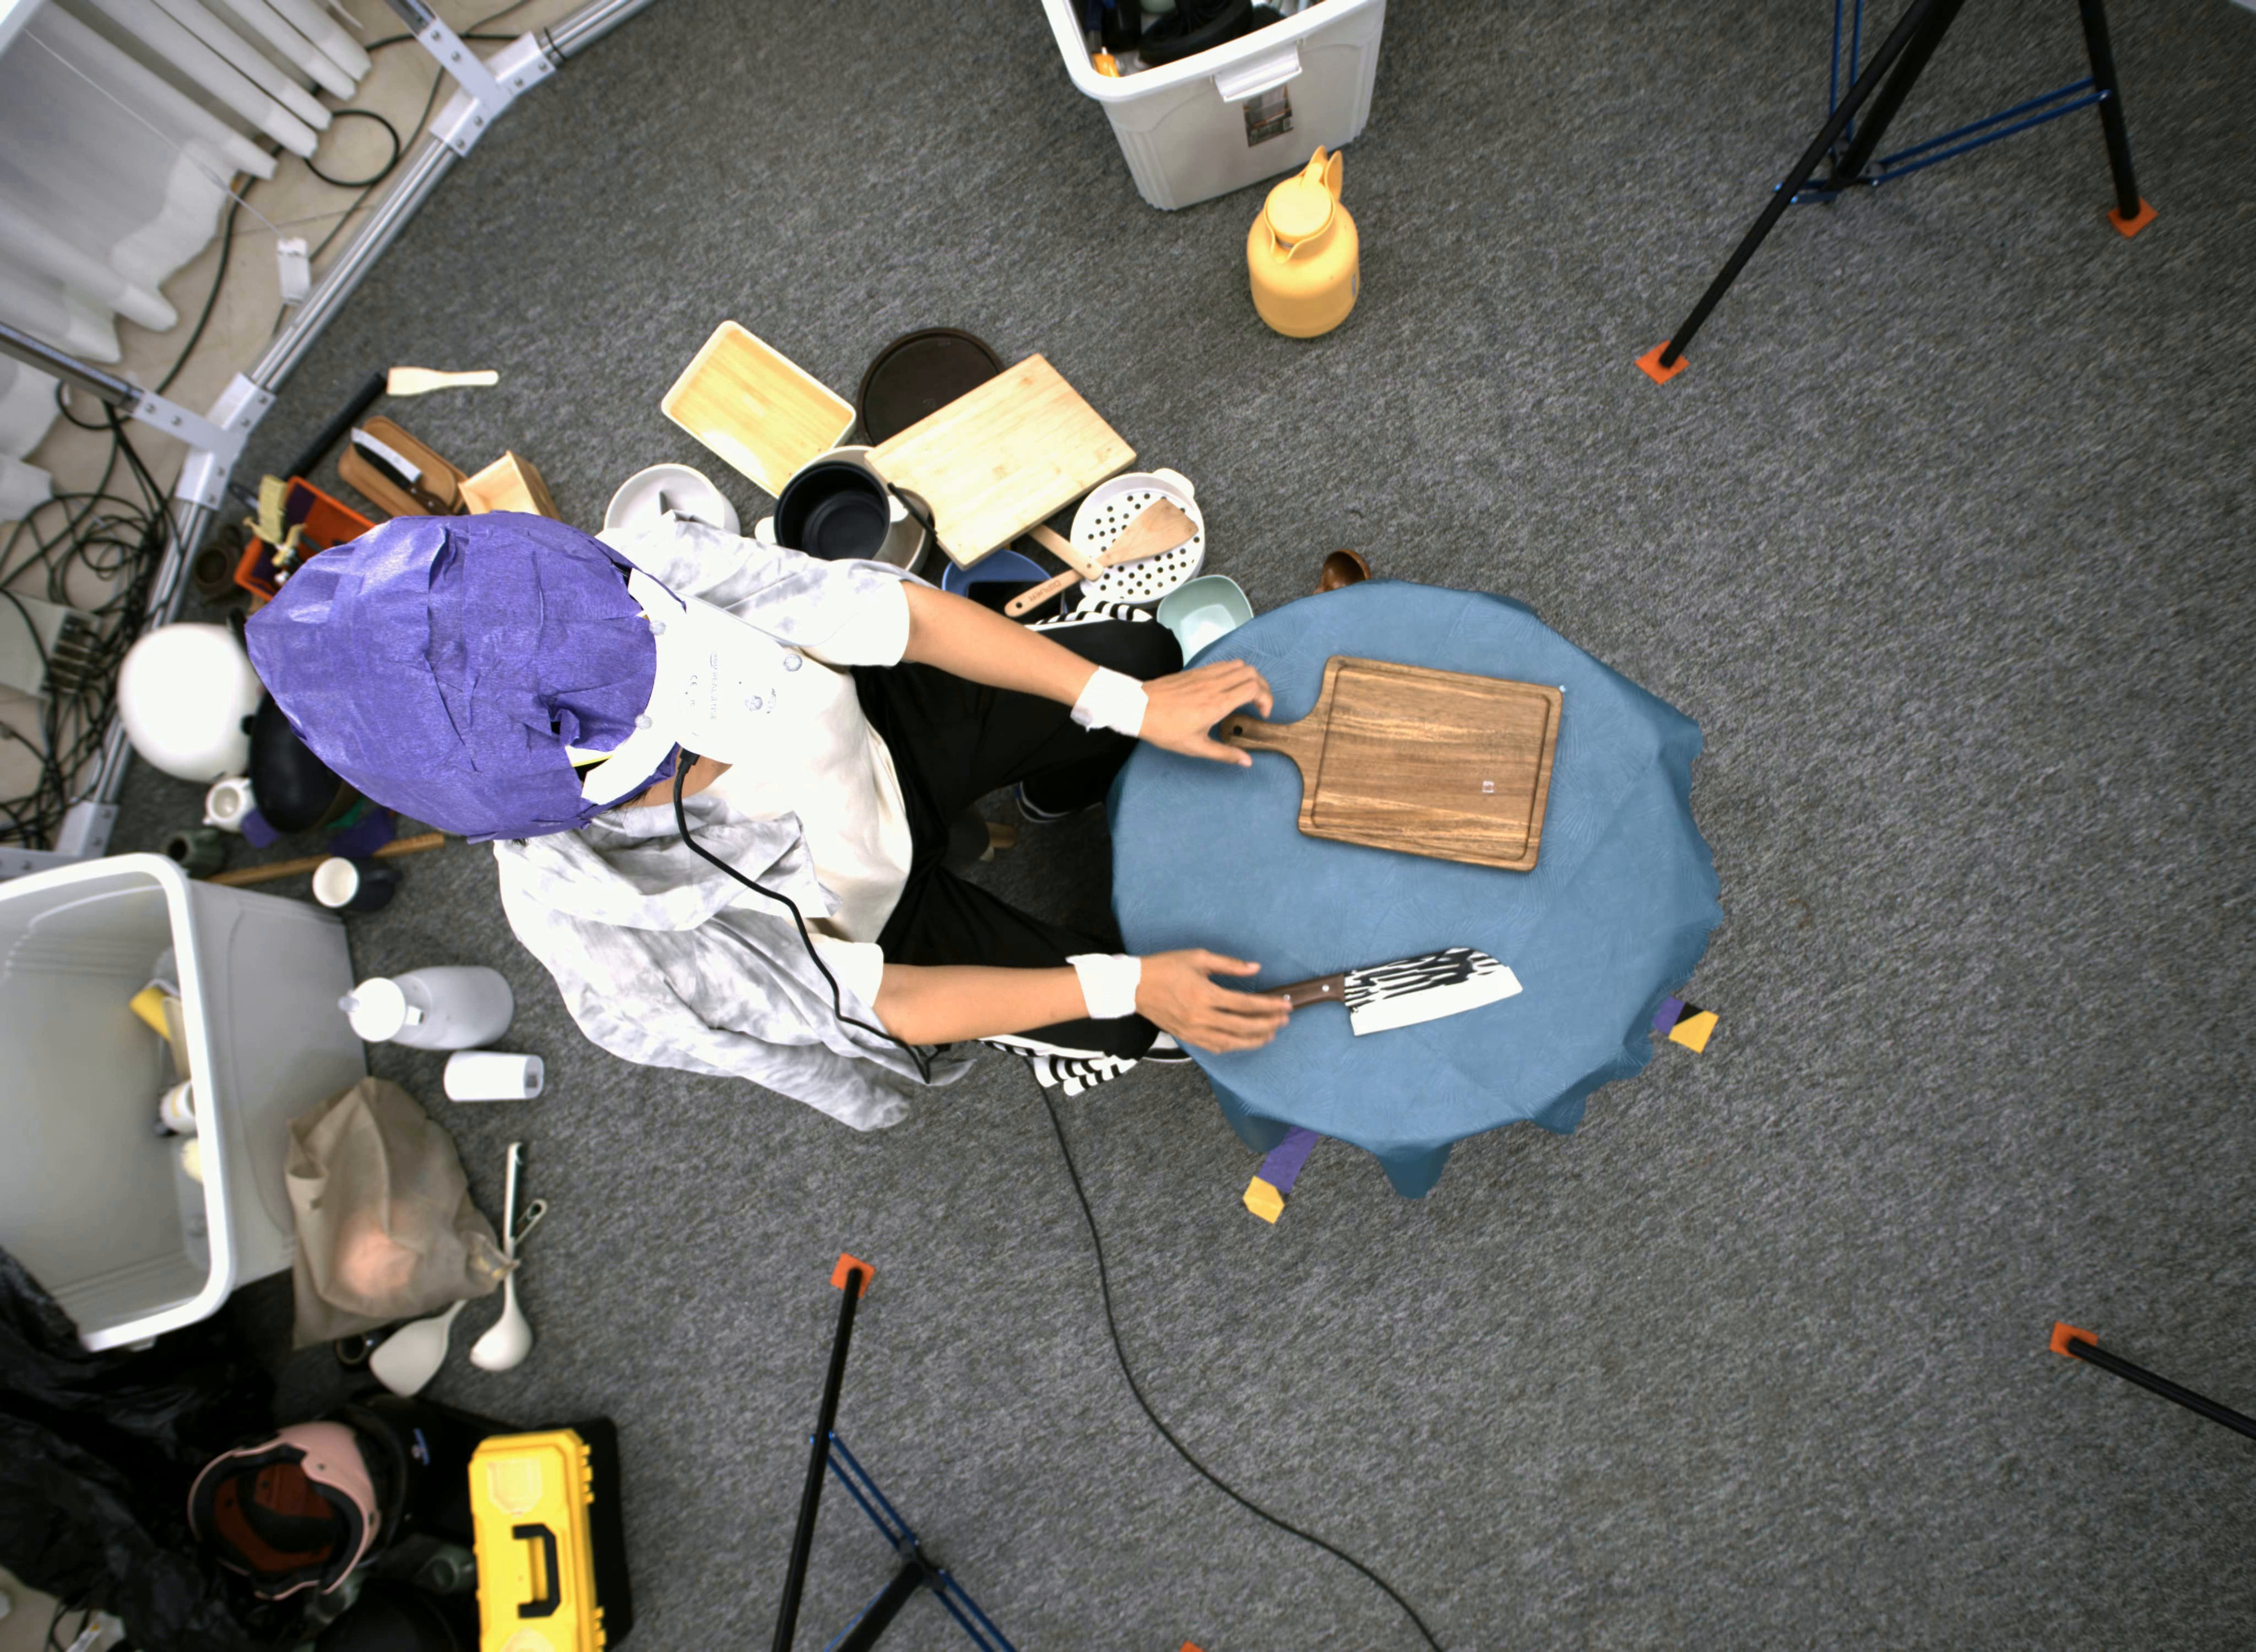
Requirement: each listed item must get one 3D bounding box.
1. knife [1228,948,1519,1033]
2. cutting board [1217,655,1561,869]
[{"bbox_3d":[0.256,0.177,1.445,0.301,0.024,0.068,-12,87,7],"label":"knife"},{"bbox_3d":[0.268,-0.078,1.456,0.353,0.023,0.200,9,88,12],"label":"cutting board"}]
